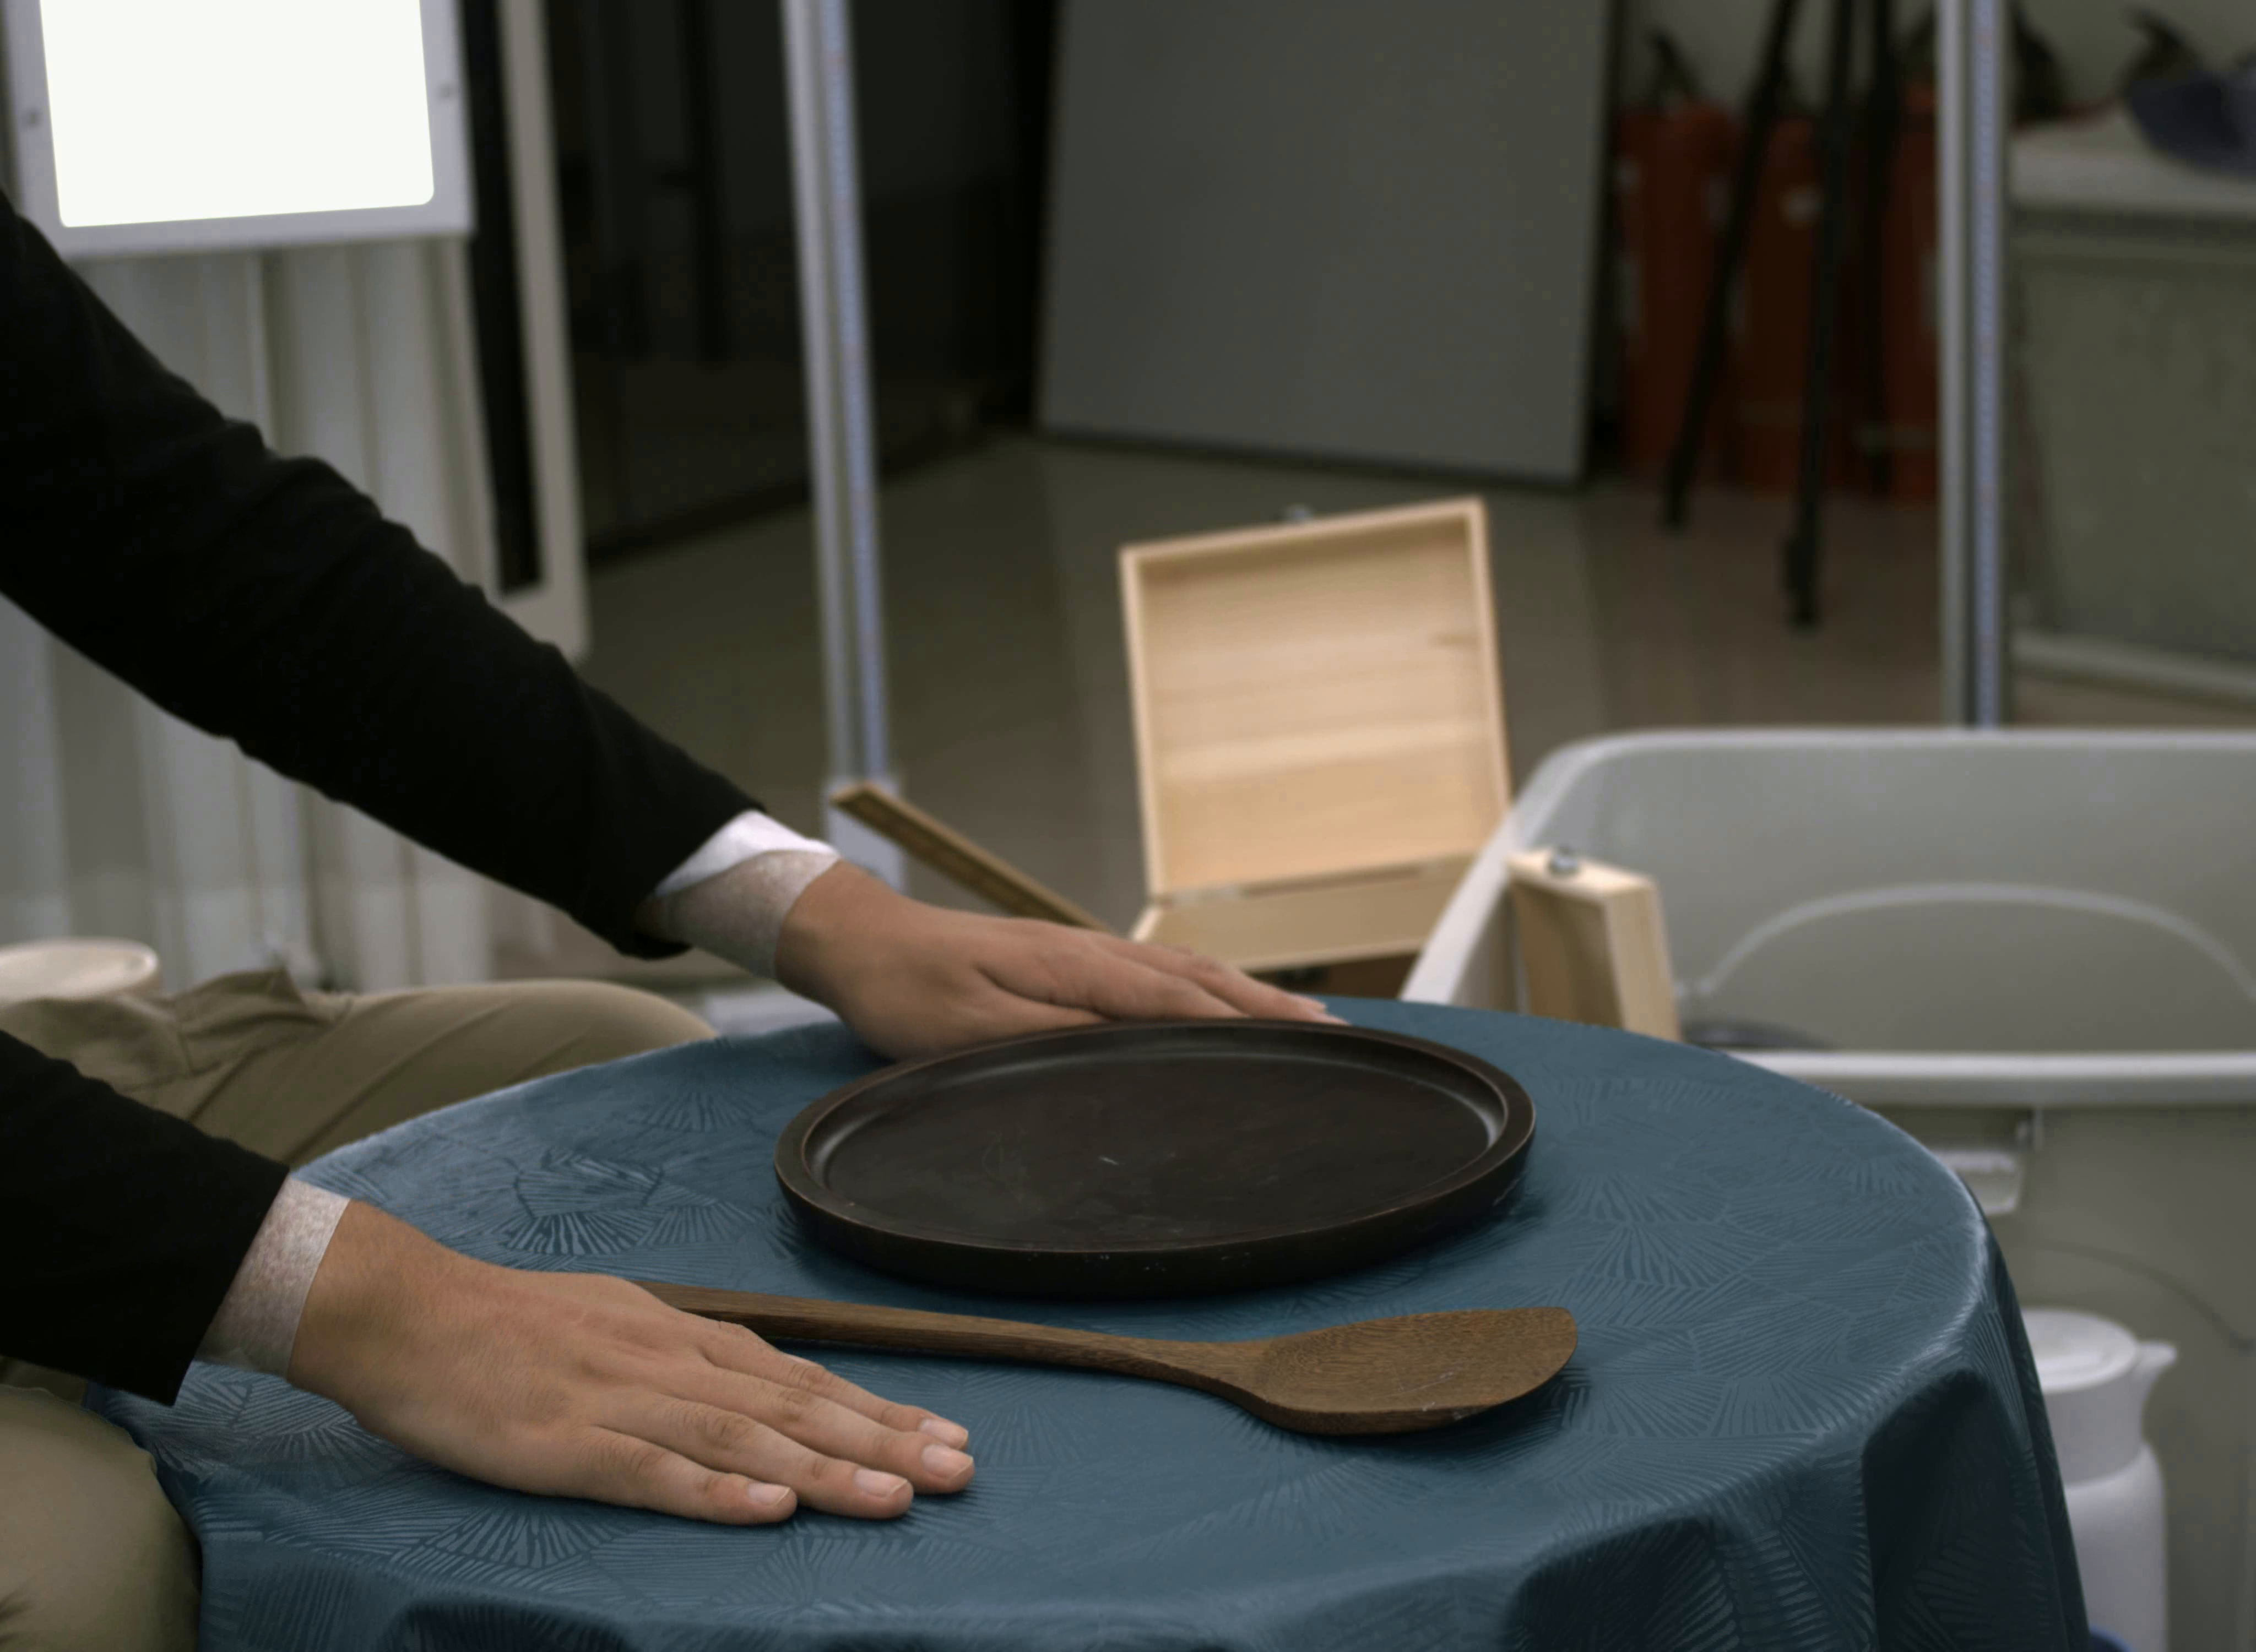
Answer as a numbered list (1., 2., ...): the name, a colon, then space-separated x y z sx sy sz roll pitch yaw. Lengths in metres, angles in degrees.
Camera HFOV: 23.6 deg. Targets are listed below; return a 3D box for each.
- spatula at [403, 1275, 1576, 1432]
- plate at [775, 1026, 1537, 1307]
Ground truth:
1. spatula: -0.051 0.153 1.623 0.386 0.016 0.095 2 14 24
2. plate: 0.010 0.109 1.767 0.251 0.029 0.255 -5 15 0
